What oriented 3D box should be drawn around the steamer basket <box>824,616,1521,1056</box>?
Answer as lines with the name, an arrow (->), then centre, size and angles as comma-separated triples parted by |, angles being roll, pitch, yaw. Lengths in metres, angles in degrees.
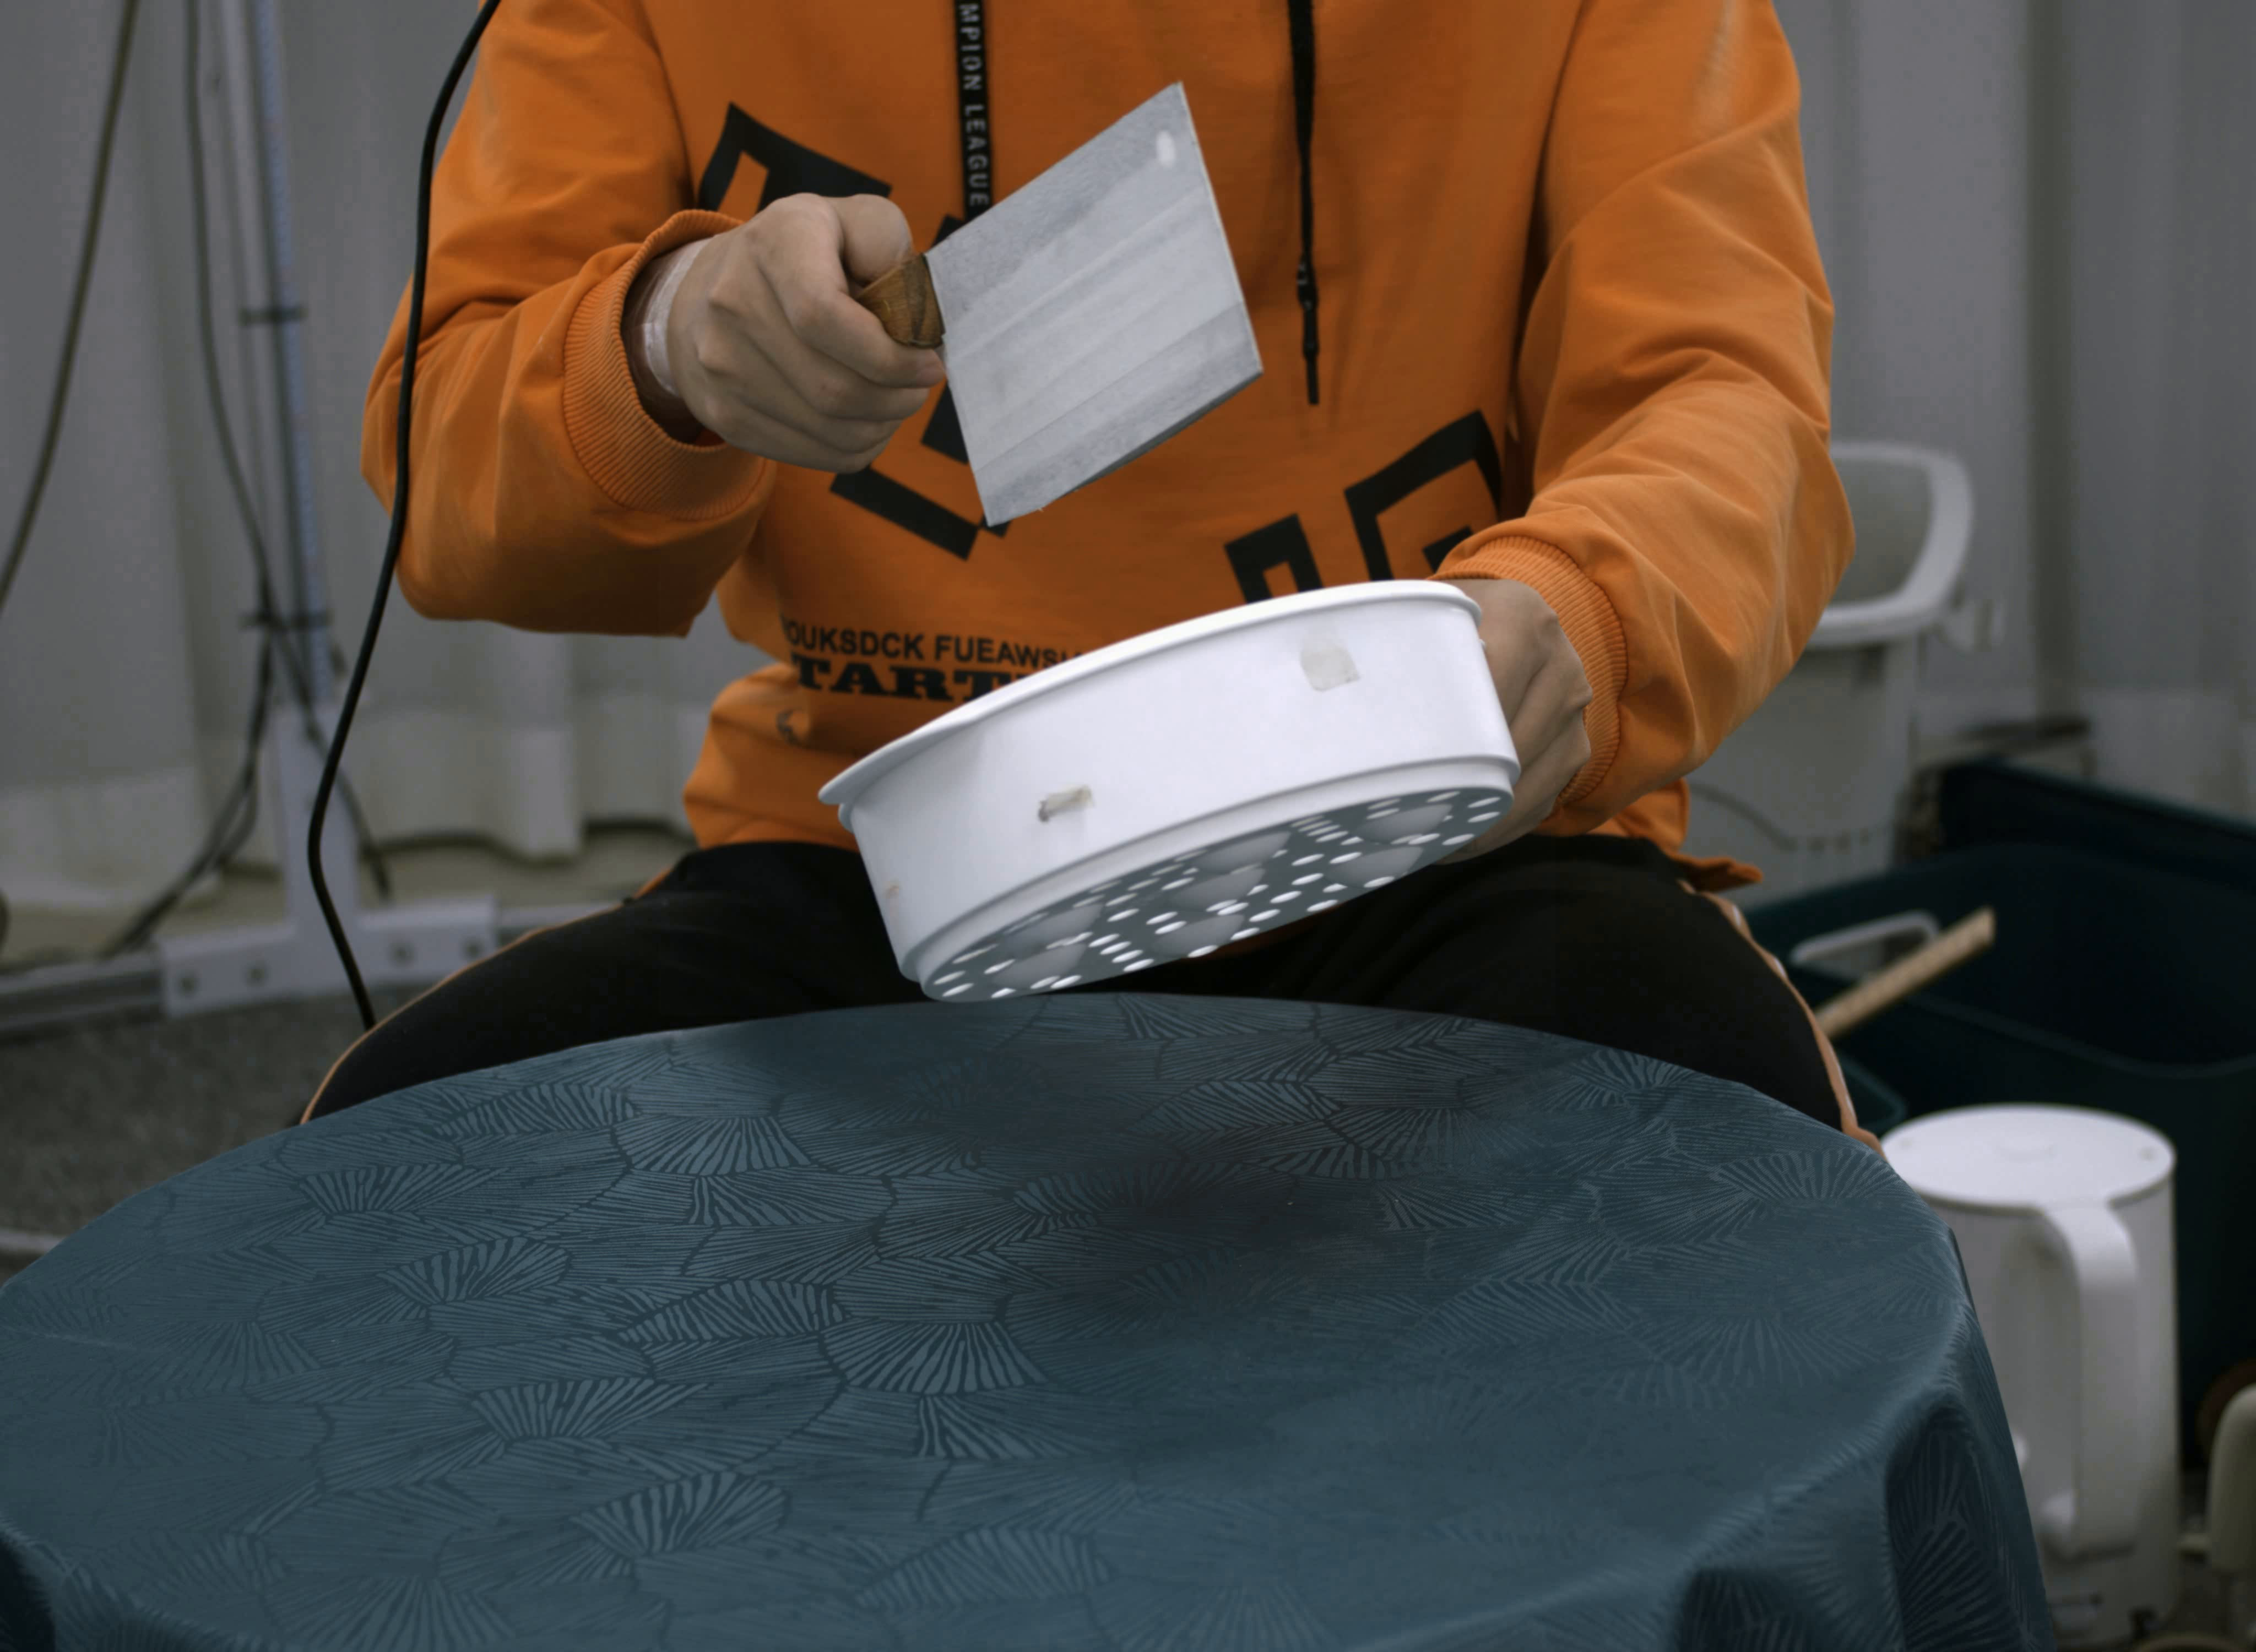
steamer basket -> 0.018, 0.007, 1.618 | 0.230, 0.069, 0.201 | -15, -10, -40

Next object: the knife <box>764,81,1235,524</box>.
knife -> -0.041, -0.145, 1.705 | 0.021, 0.093, 0.305 | -13, -5, -28
